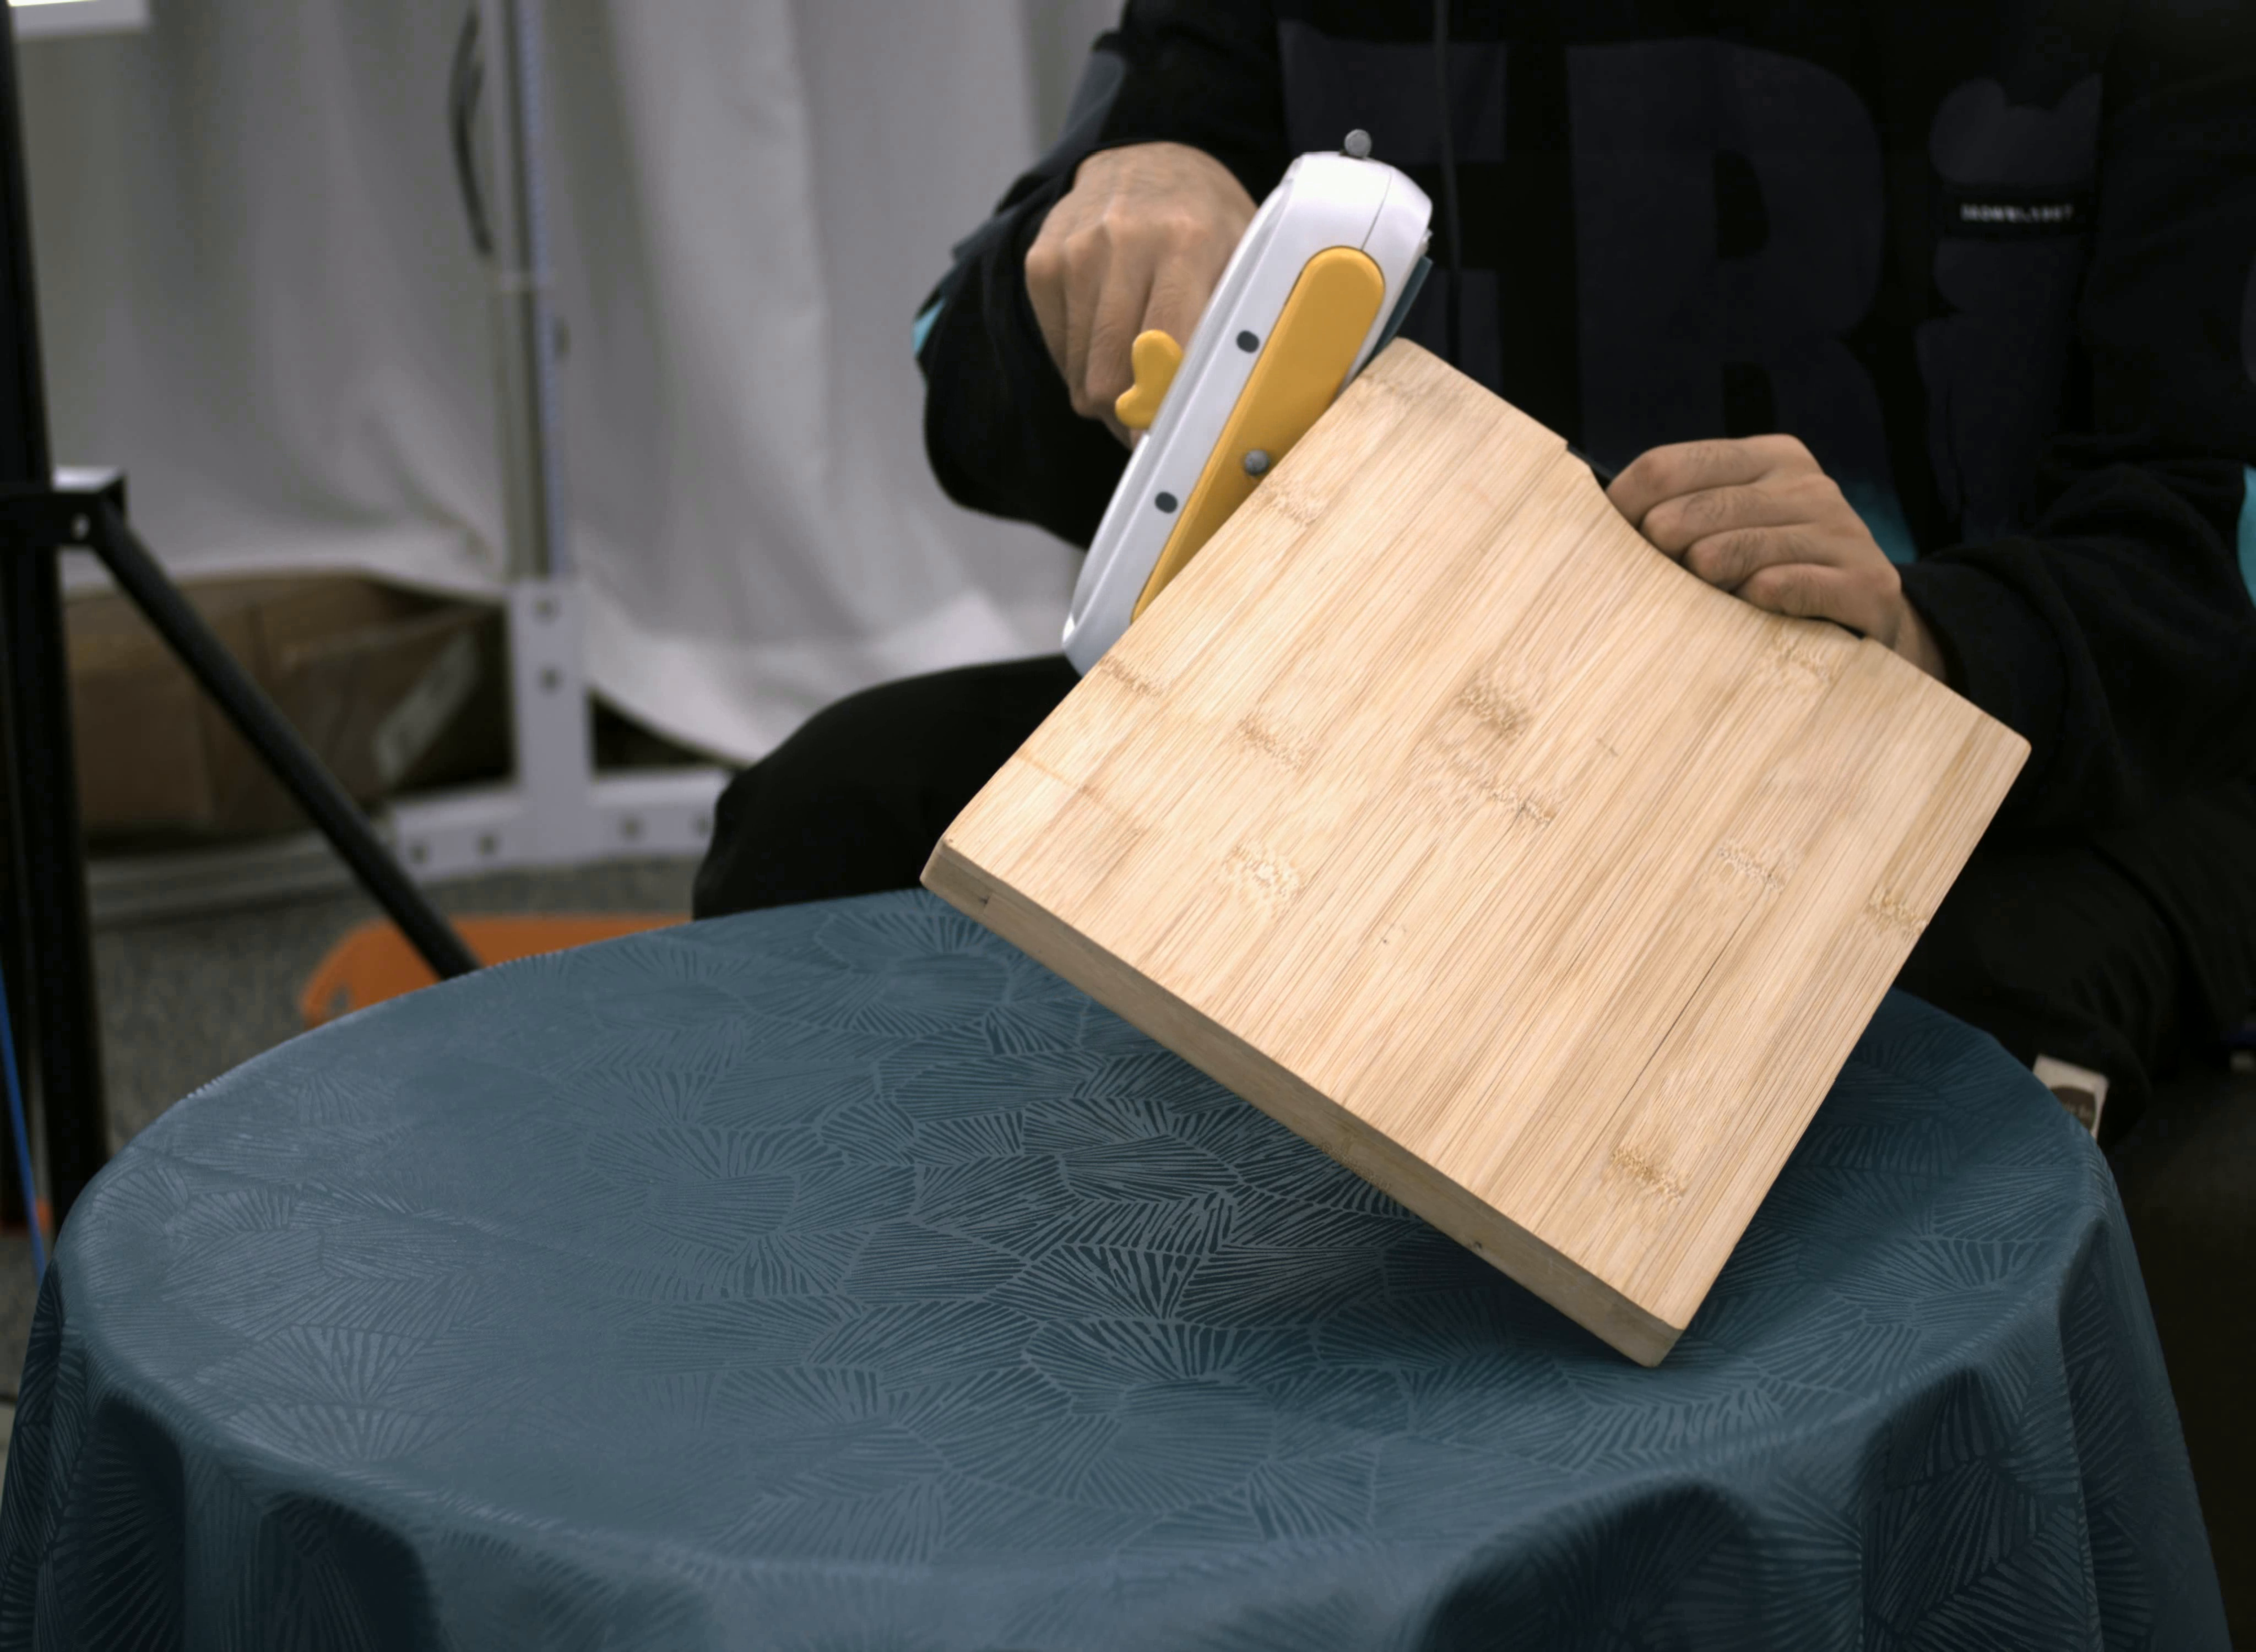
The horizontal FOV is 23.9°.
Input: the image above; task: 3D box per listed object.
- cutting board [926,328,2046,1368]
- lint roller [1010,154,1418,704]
[{"bbox_3d":[0.115,-0.007,1.549,0.252,0.024,0.345,33,38,6],"label":"cutting board"},{"bbox_3d":[0.009,-0.134,1.739,0.073,0.193,0.194,26,2,-15],"label":"lint roller"}]
